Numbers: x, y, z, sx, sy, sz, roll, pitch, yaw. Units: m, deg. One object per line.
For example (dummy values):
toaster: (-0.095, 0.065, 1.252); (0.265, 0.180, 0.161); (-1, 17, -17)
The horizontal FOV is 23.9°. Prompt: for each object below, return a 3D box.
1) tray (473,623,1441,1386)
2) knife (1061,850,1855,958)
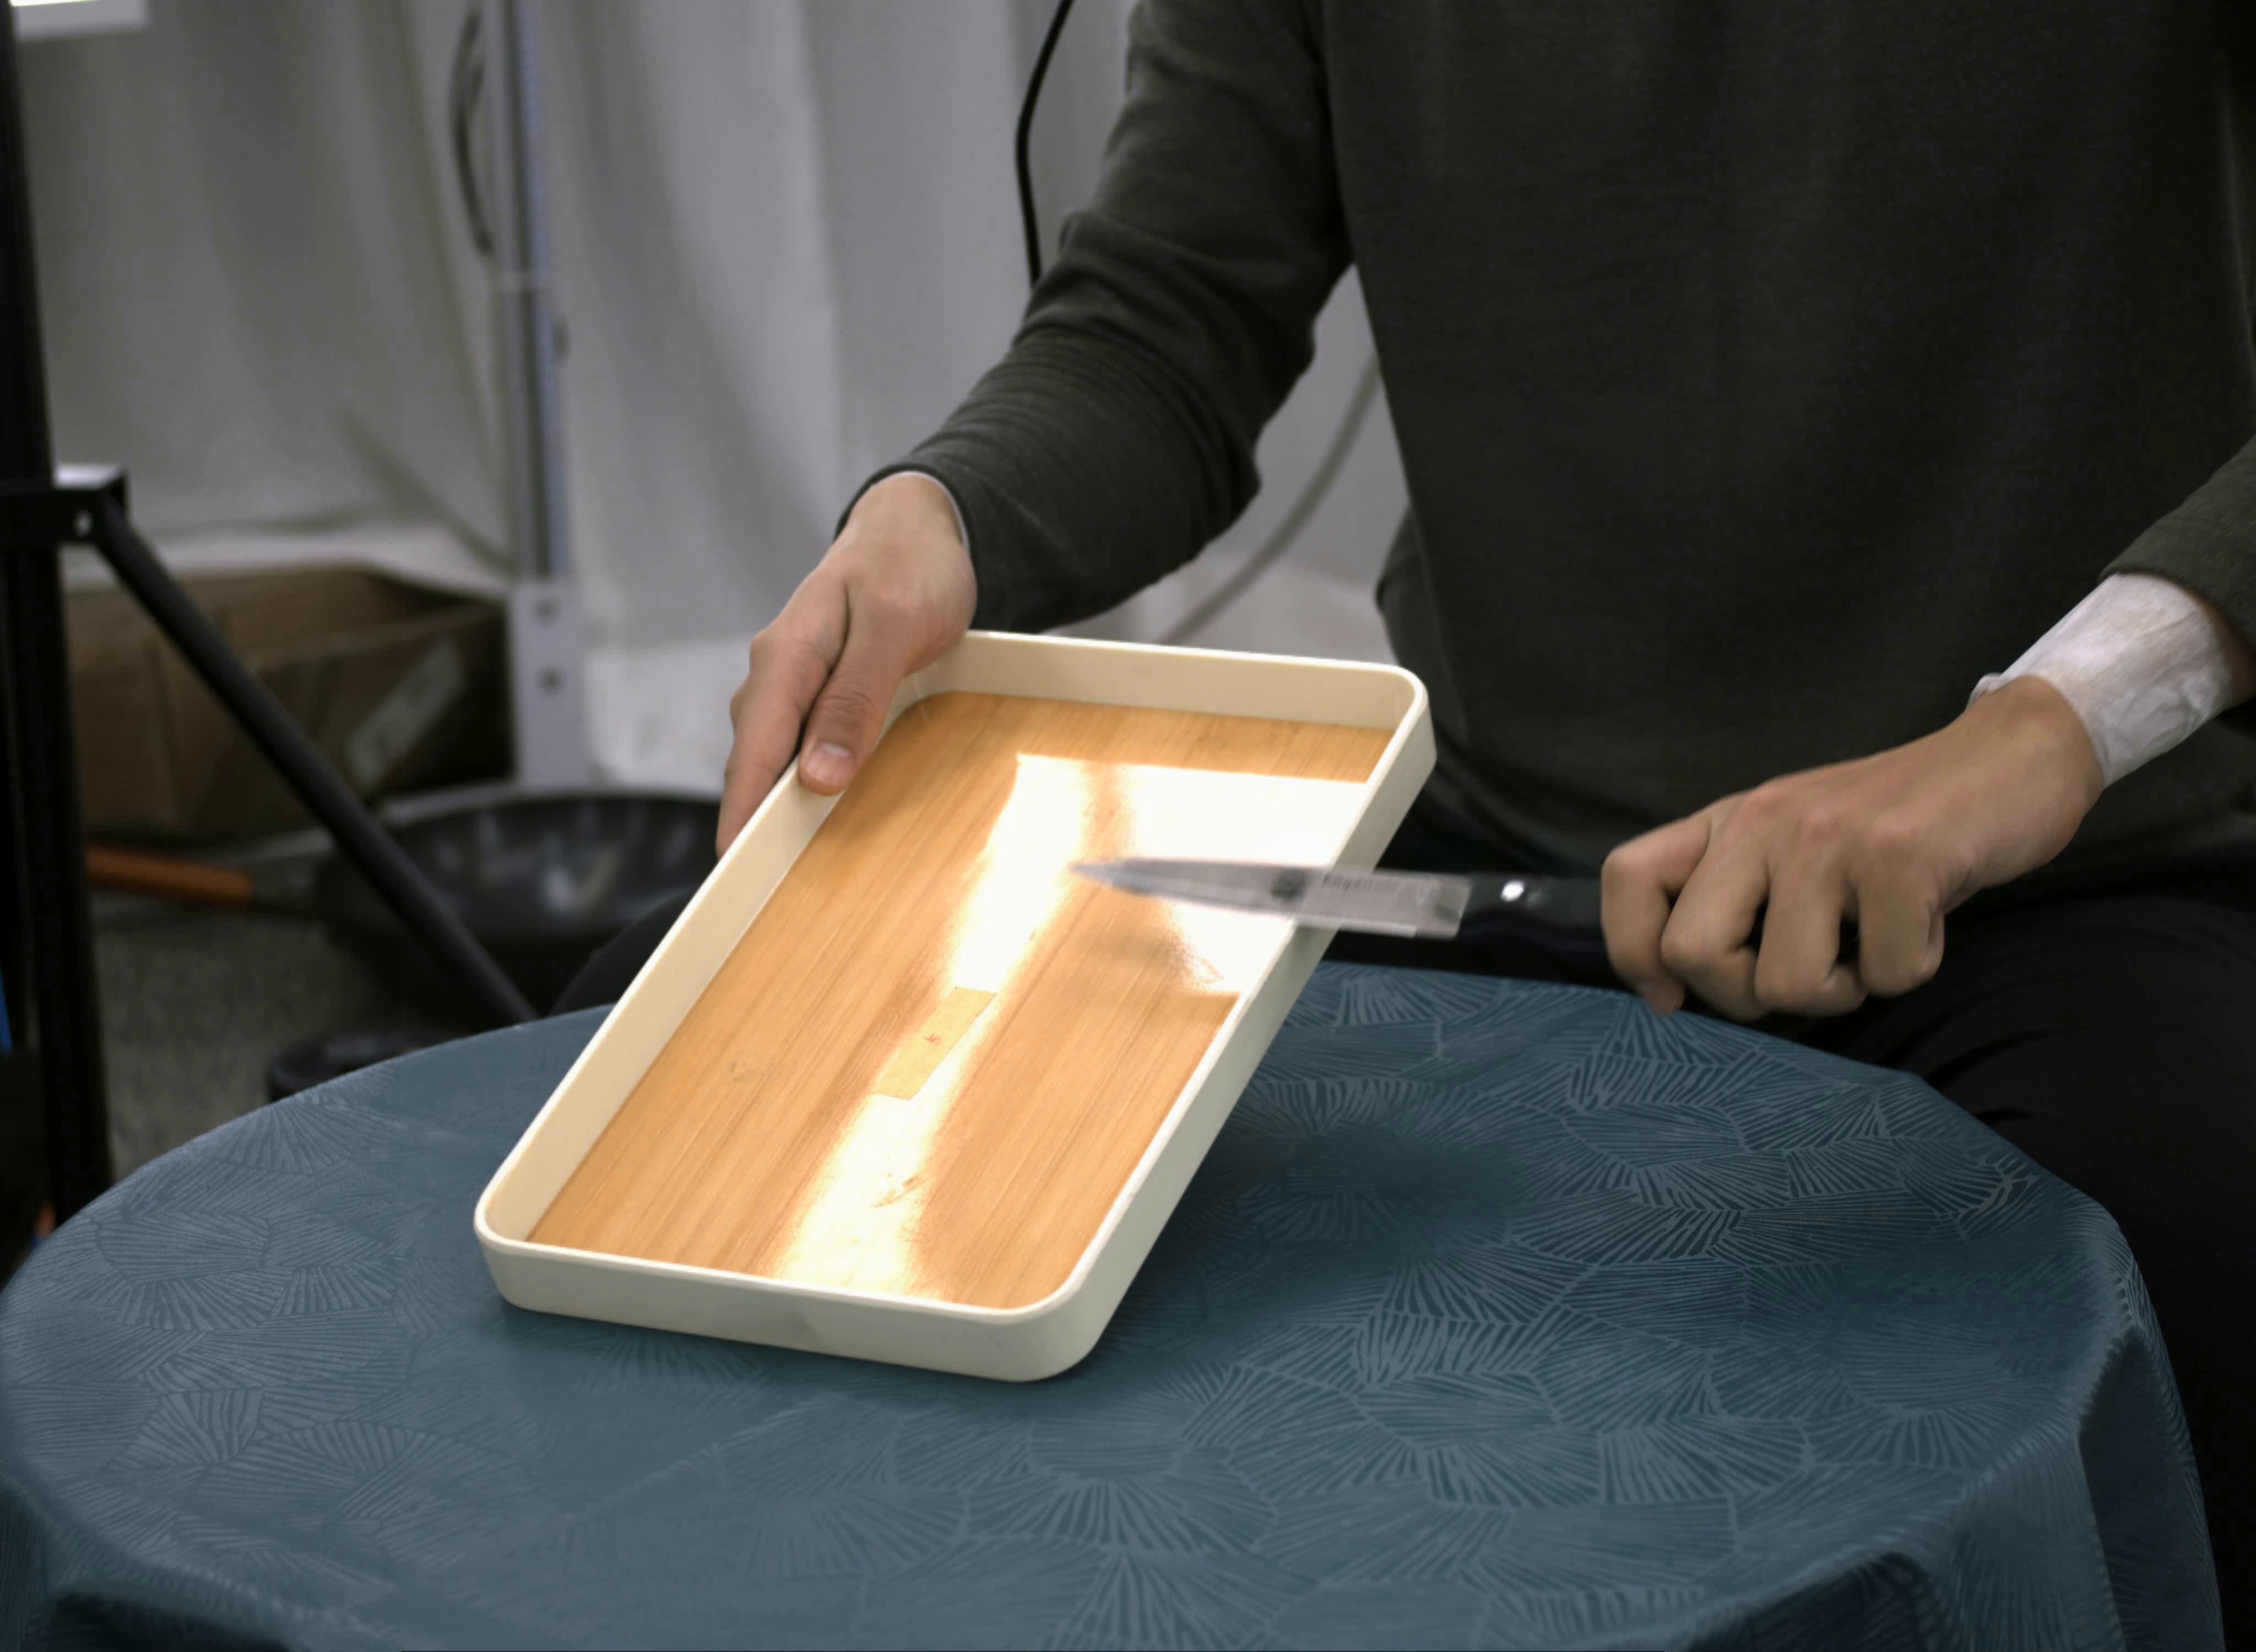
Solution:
tray: (-0.044, 0.044, 1.551); (0.194, 0.027, 0.298); (6, 40, 26)
knife: (0.092, 0.019, 1.513); (0.241, 0.016, 0.024); (5, 45, 23)
